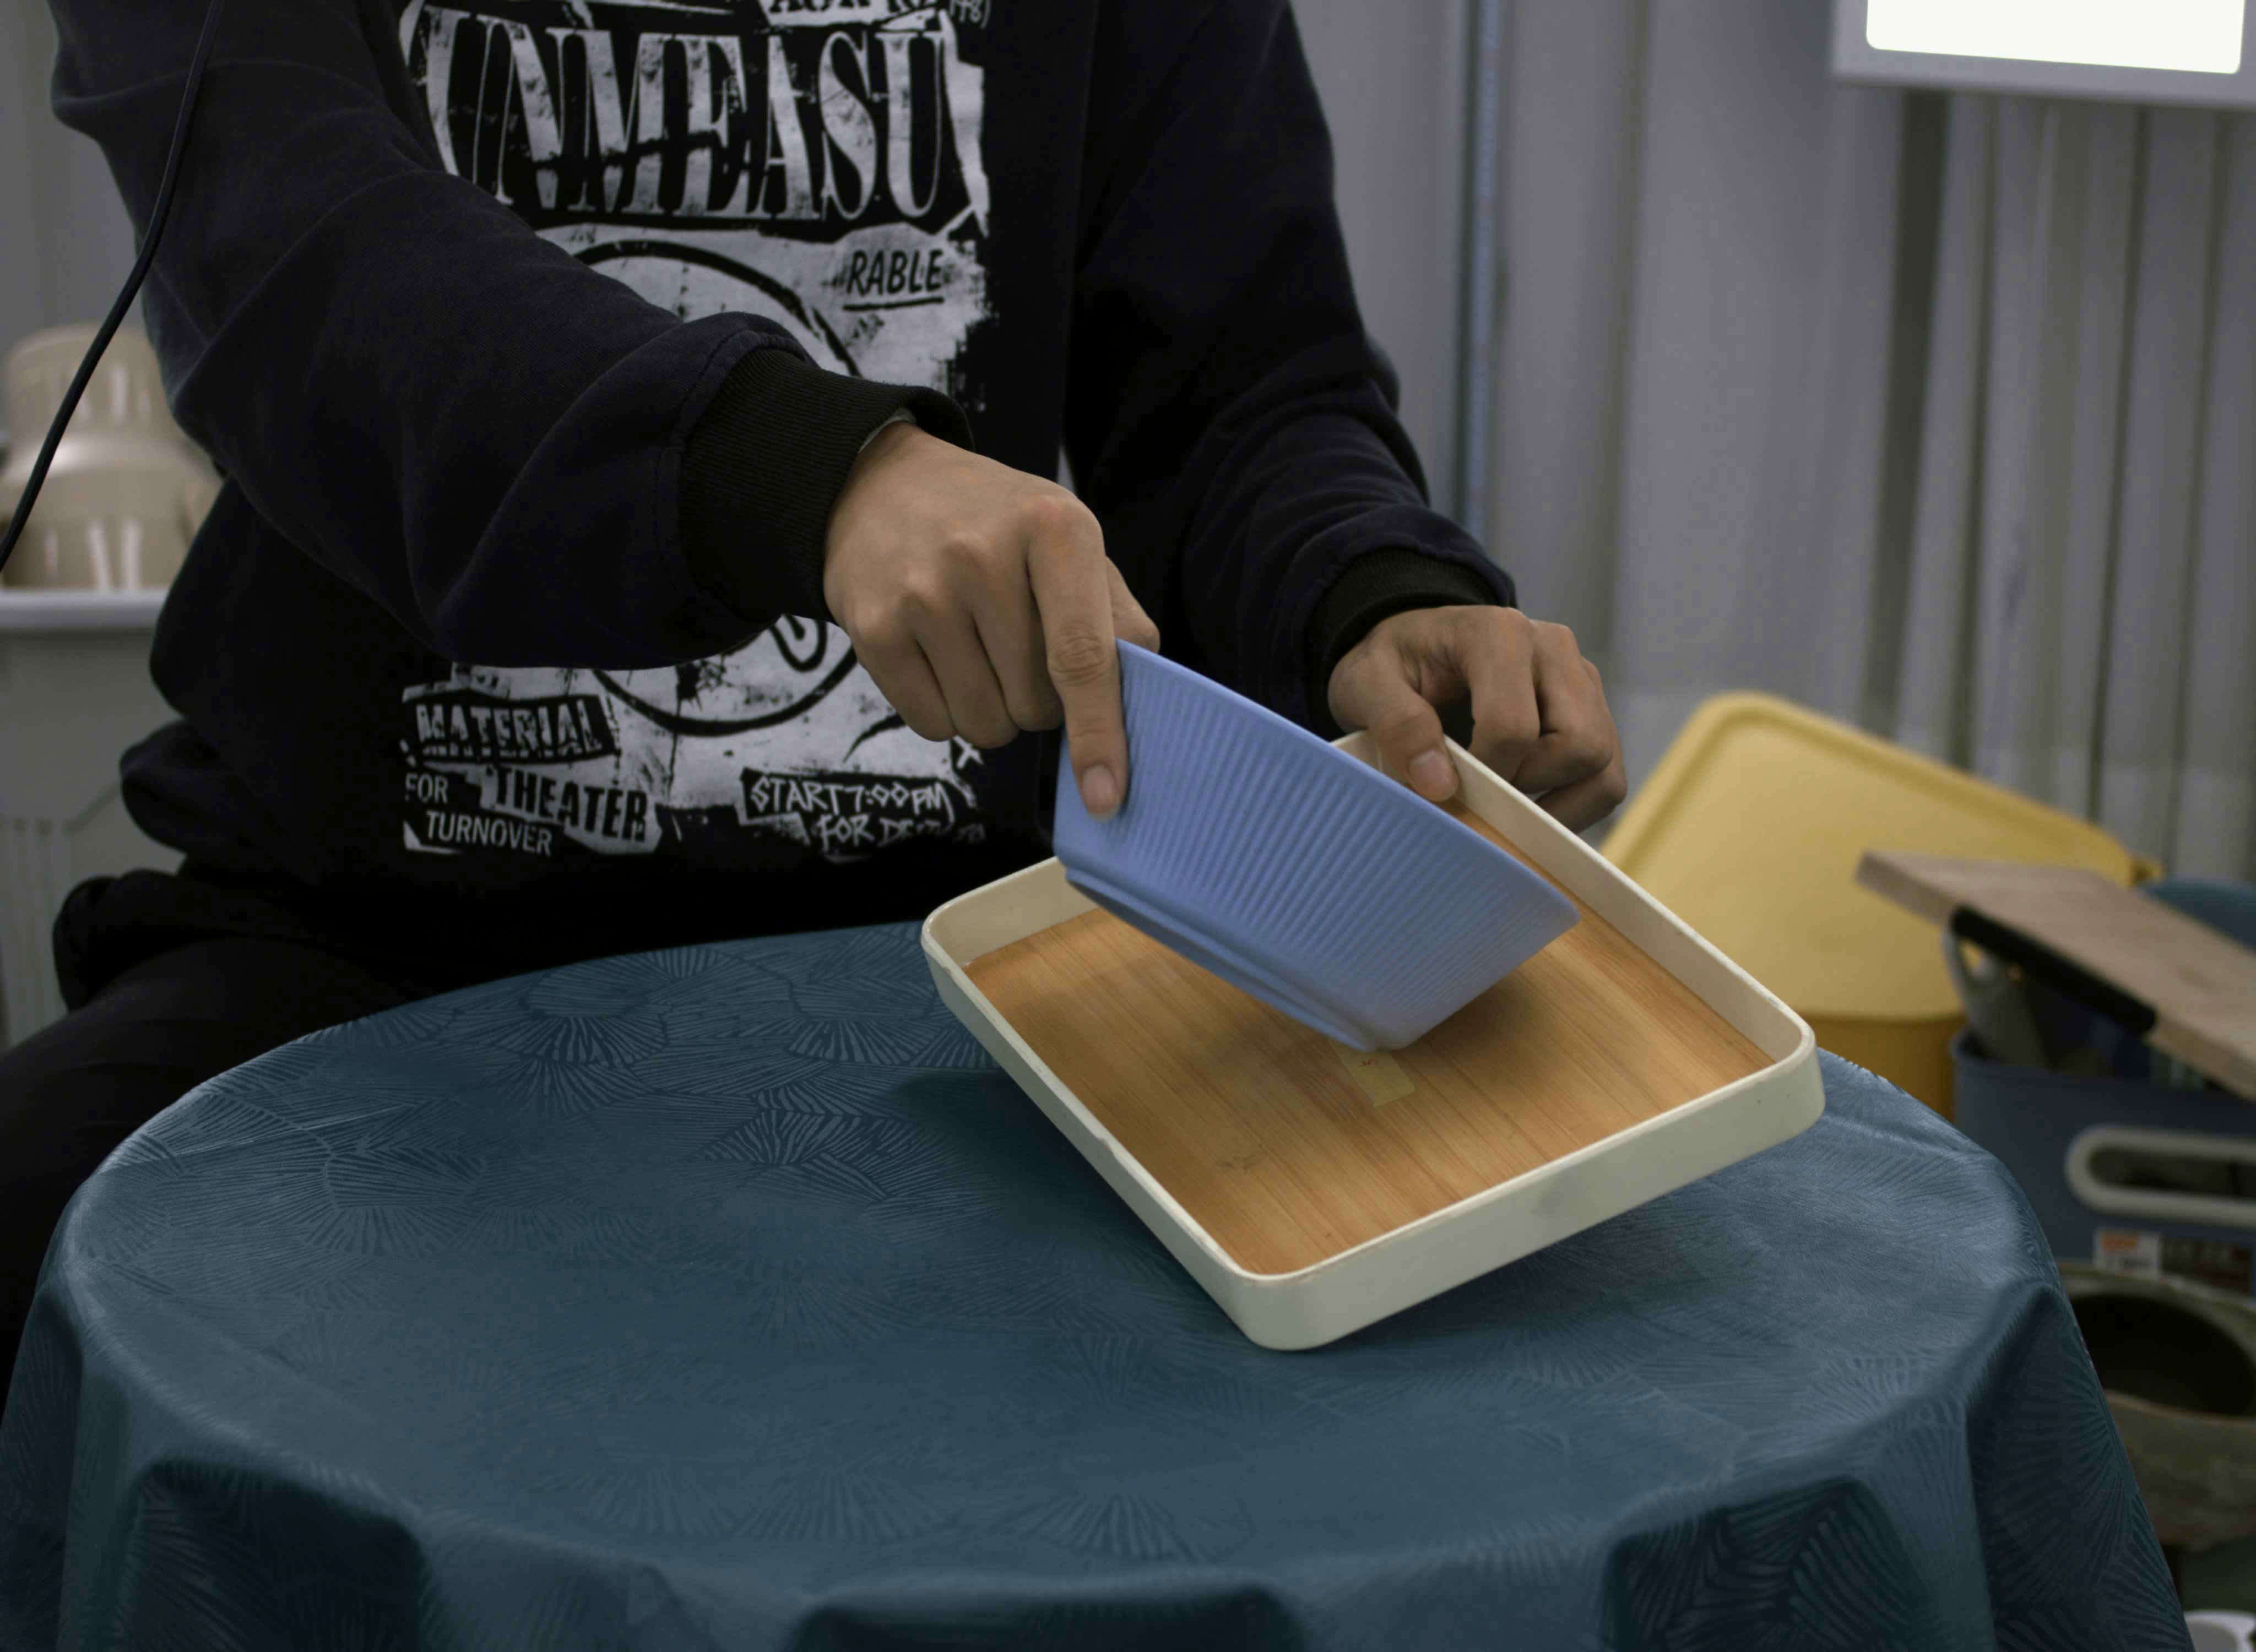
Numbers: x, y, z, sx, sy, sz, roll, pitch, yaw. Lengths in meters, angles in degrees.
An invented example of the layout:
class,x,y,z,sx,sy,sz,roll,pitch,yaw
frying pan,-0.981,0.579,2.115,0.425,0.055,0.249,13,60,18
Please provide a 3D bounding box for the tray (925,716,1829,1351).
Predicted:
class,x,y,z,sx,sy,sz,roll,pitch,yaw
tray,0.070,0.057,1.632,0.191,0.028,0.296,-22,28,-13

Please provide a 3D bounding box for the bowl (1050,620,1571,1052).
class,x,y,z,sx,sy,sz,roll,pitch,yaw
bowl,0.043,0.011,1.591,0.175,0.070,0.176,31,-4,3
